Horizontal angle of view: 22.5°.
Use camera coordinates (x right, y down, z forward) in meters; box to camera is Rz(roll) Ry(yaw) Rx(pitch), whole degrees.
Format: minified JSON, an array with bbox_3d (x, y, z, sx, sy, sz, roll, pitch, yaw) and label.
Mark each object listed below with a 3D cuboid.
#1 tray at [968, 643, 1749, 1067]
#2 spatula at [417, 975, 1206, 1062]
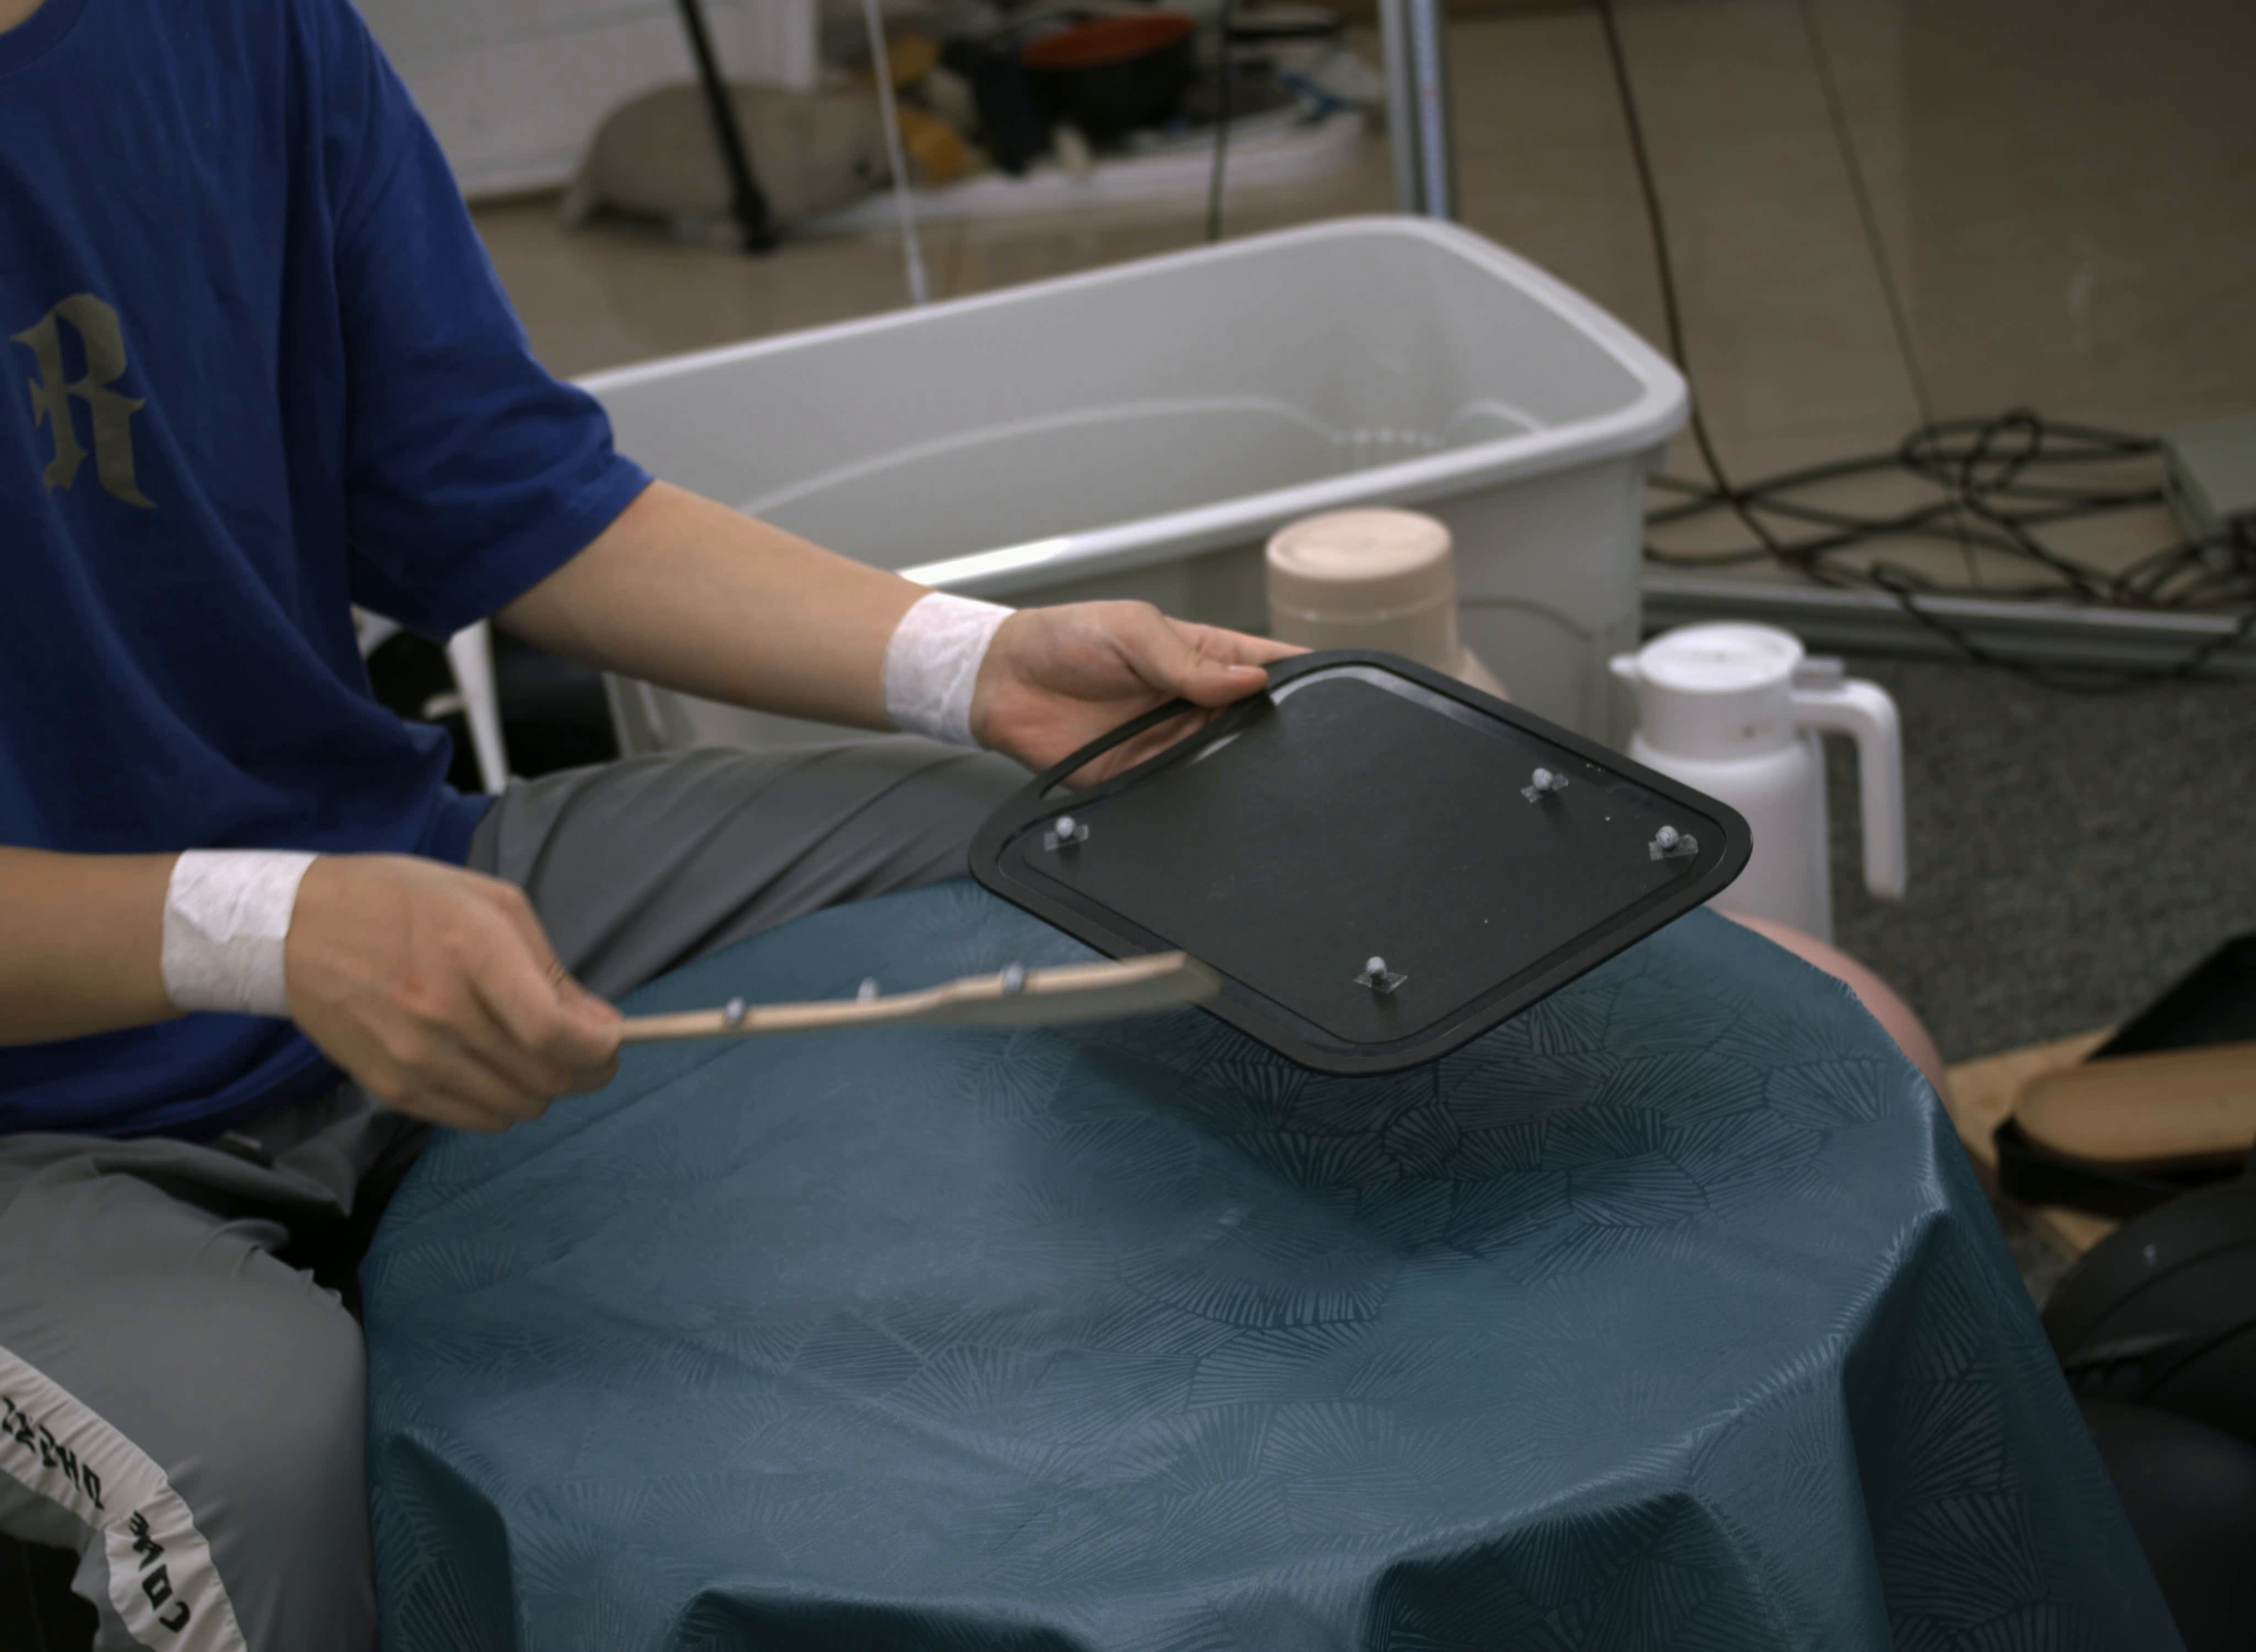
[{"bbox_3d":[0.079,0.004,2.210,0.209,0.010,0.322,-29,32,-22],"label":"tray"},{"bbox_3d":[-0.119,0.073,2.069,0.292,0.010,0.073,-4,-11,11],"label":"spatula"}]
